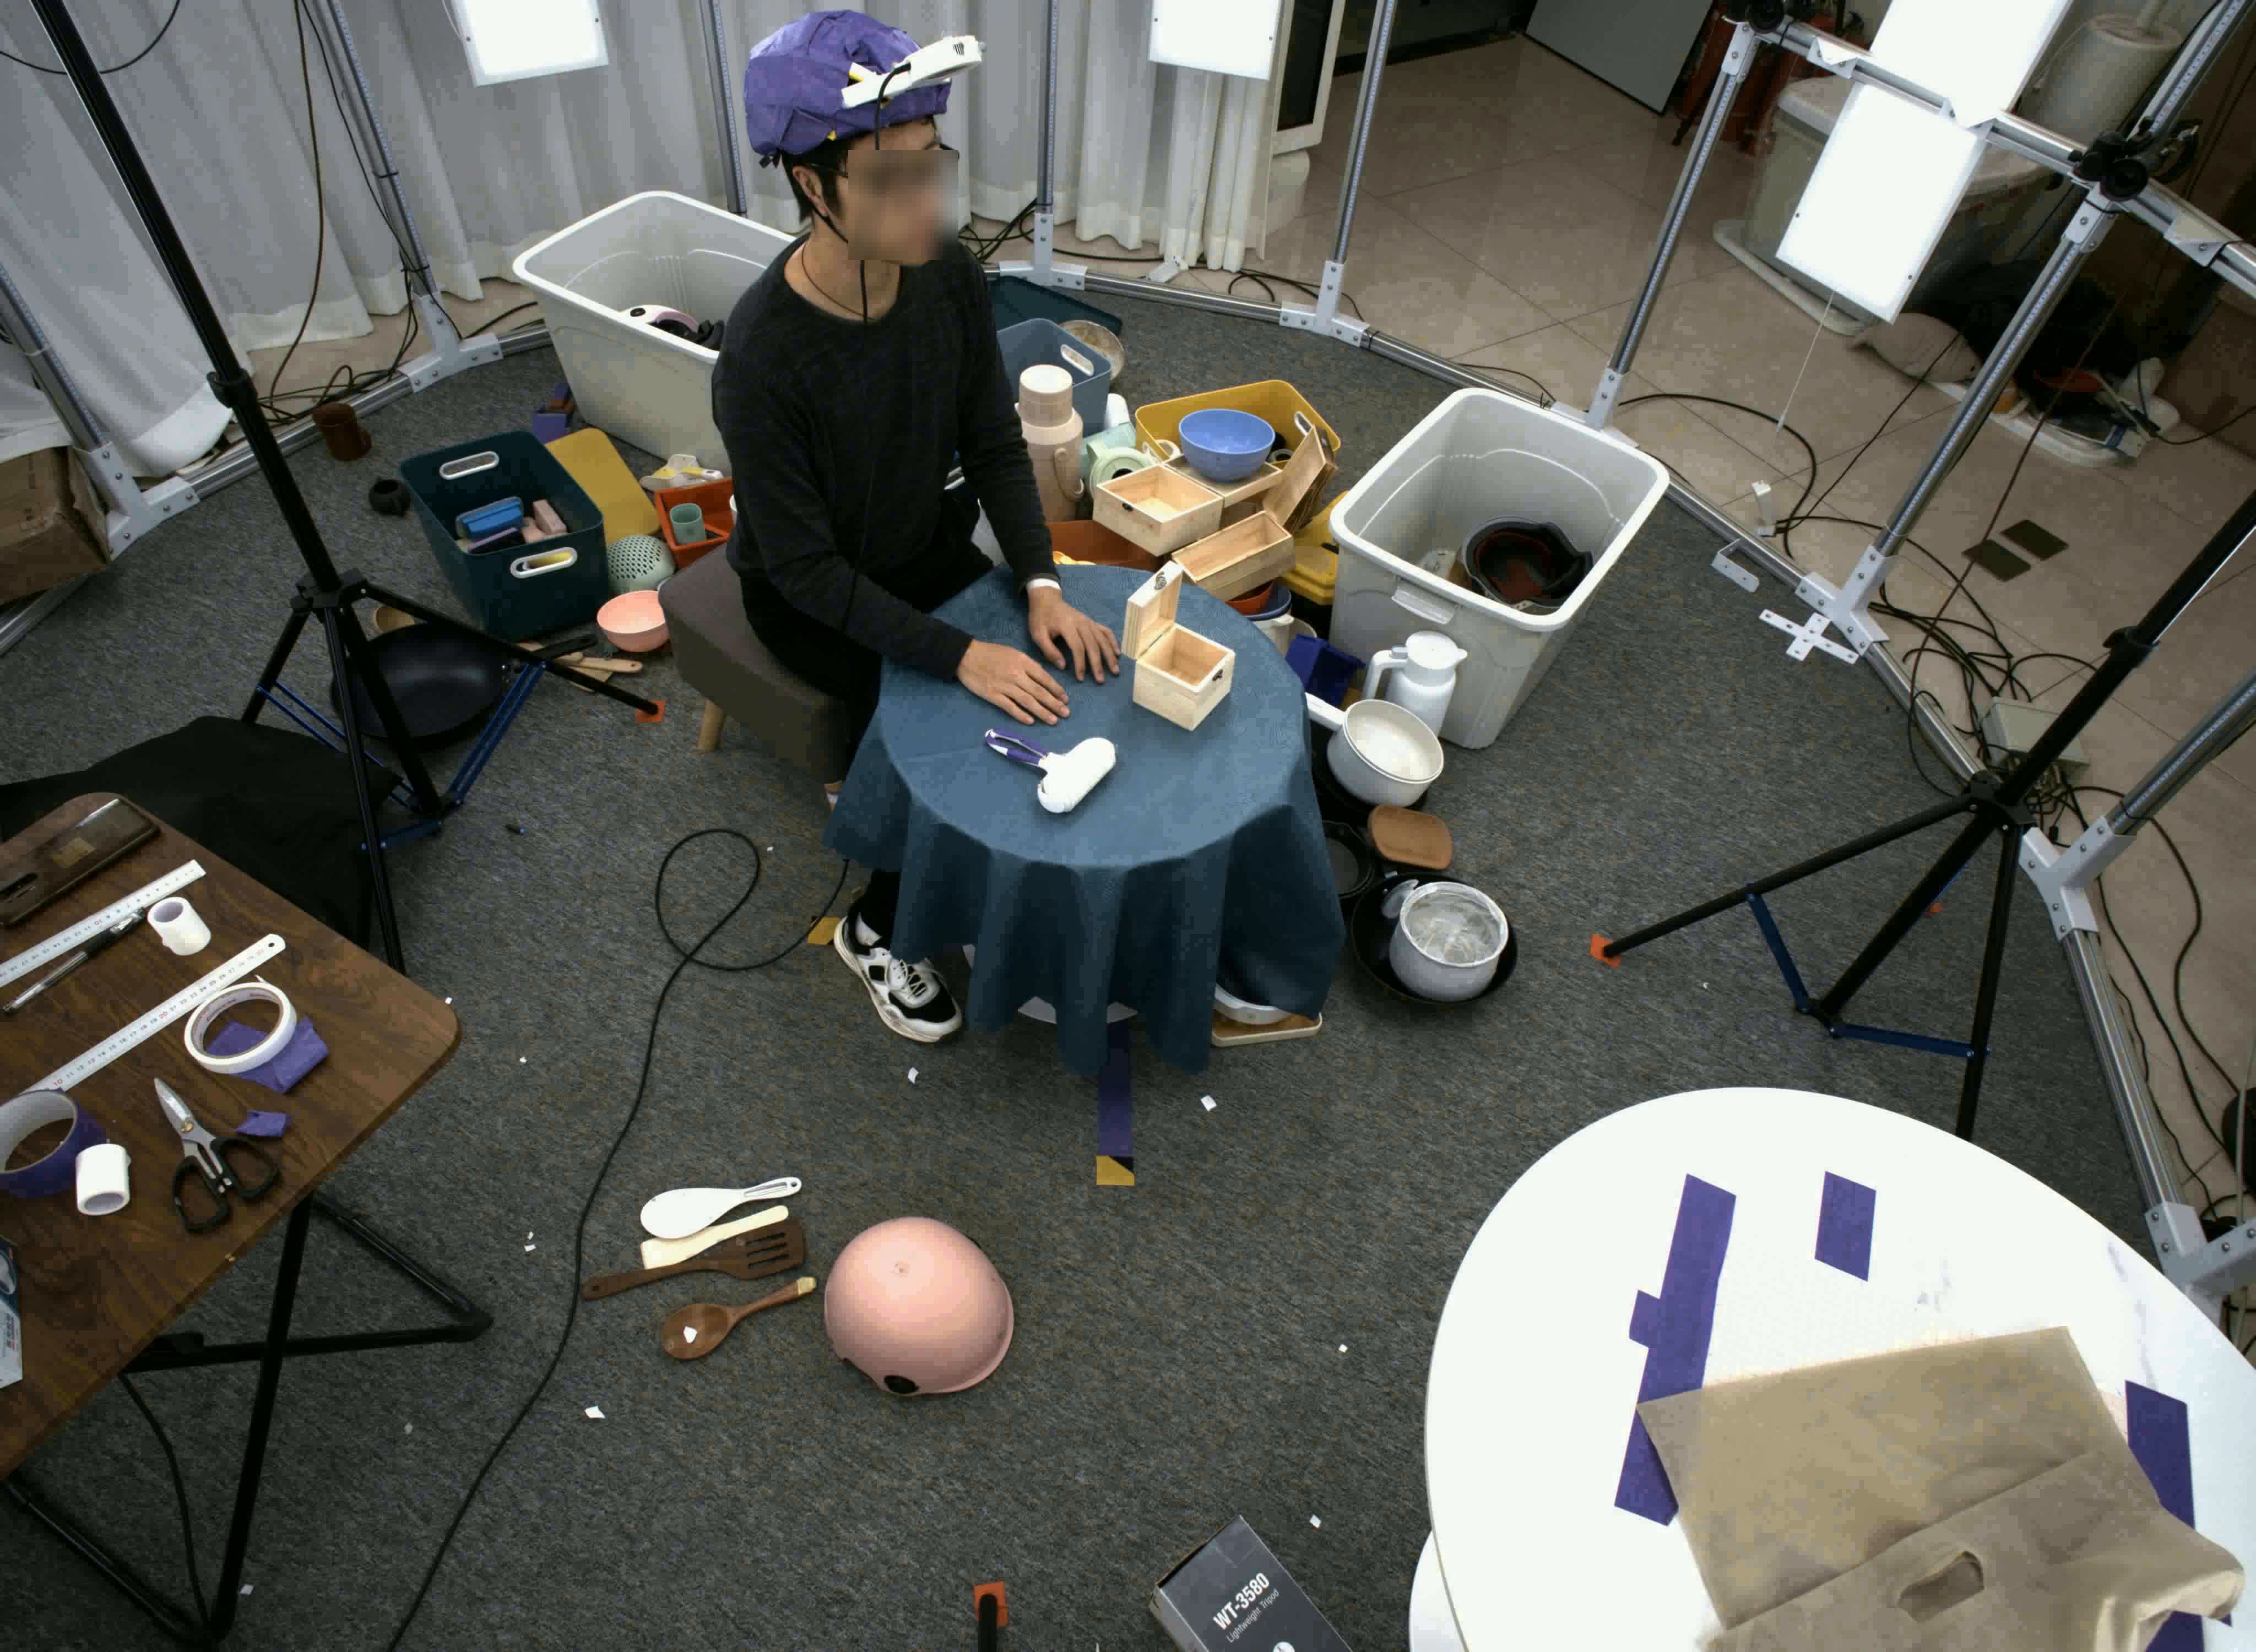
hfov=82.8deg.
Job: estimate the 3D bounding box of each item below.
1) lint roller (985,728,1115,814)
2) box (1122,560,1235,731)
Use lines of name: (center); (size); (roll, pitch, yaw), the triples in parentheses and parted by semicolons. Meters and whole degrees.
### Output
lint roller: (-0.117, -0.098, 1.717); (0.183, 0.049, 0.134); (32, 55, 19)
box: (0.074, -0.248, 1.772); (0.135, 0.180, 0.104); (29, 53, 20)
